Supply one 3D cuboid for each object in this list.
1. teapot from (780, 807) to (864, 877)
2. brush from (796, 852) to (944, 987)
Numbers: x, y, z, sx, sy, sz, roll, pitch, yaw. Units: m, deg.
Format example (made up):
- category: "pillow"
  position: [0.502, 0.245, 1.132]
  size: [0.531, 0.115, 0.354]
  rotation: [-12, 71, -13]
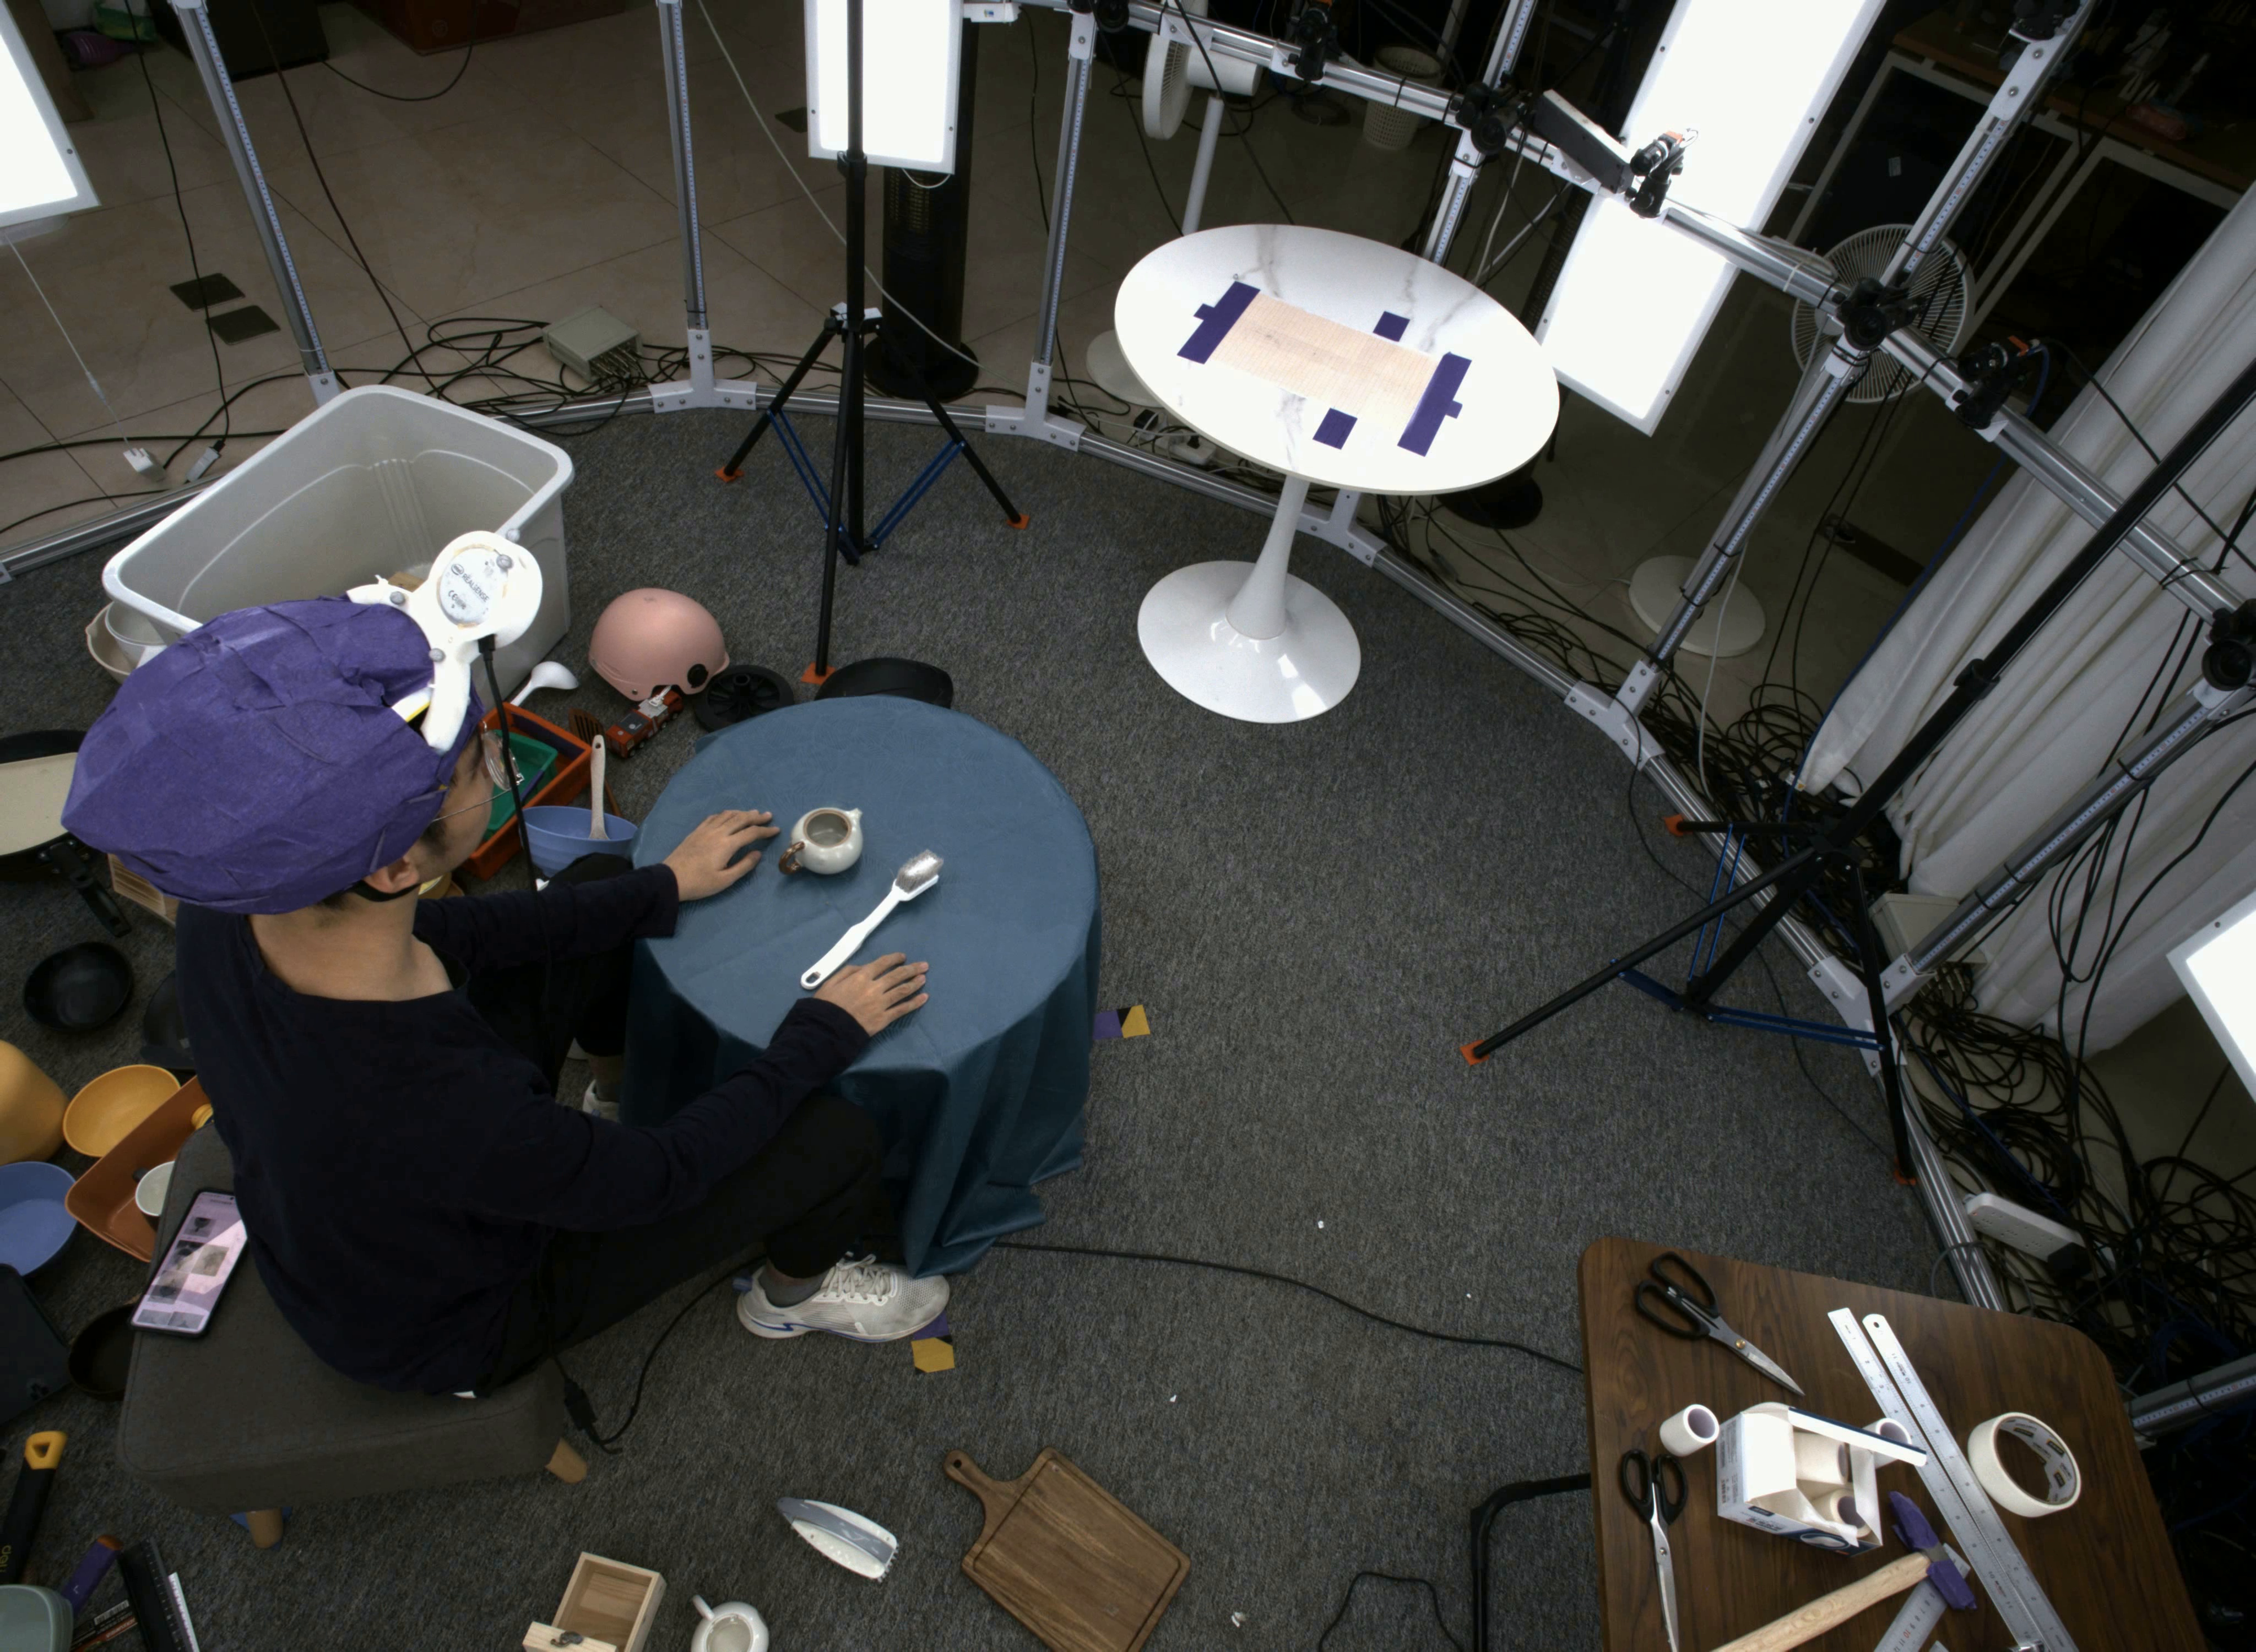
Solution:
- category: "teapot"
  position: [-0.396, 0.023, 1.679]
  size: [0.090, 0.061, 0.128]
  rotation: [42, 55, 16]
- category: "brush"
  position: [-0.324, 0.112, 1.637]
  size: [0.034, 0.051, 0.244]
  rotation: [39, 55, 13]
